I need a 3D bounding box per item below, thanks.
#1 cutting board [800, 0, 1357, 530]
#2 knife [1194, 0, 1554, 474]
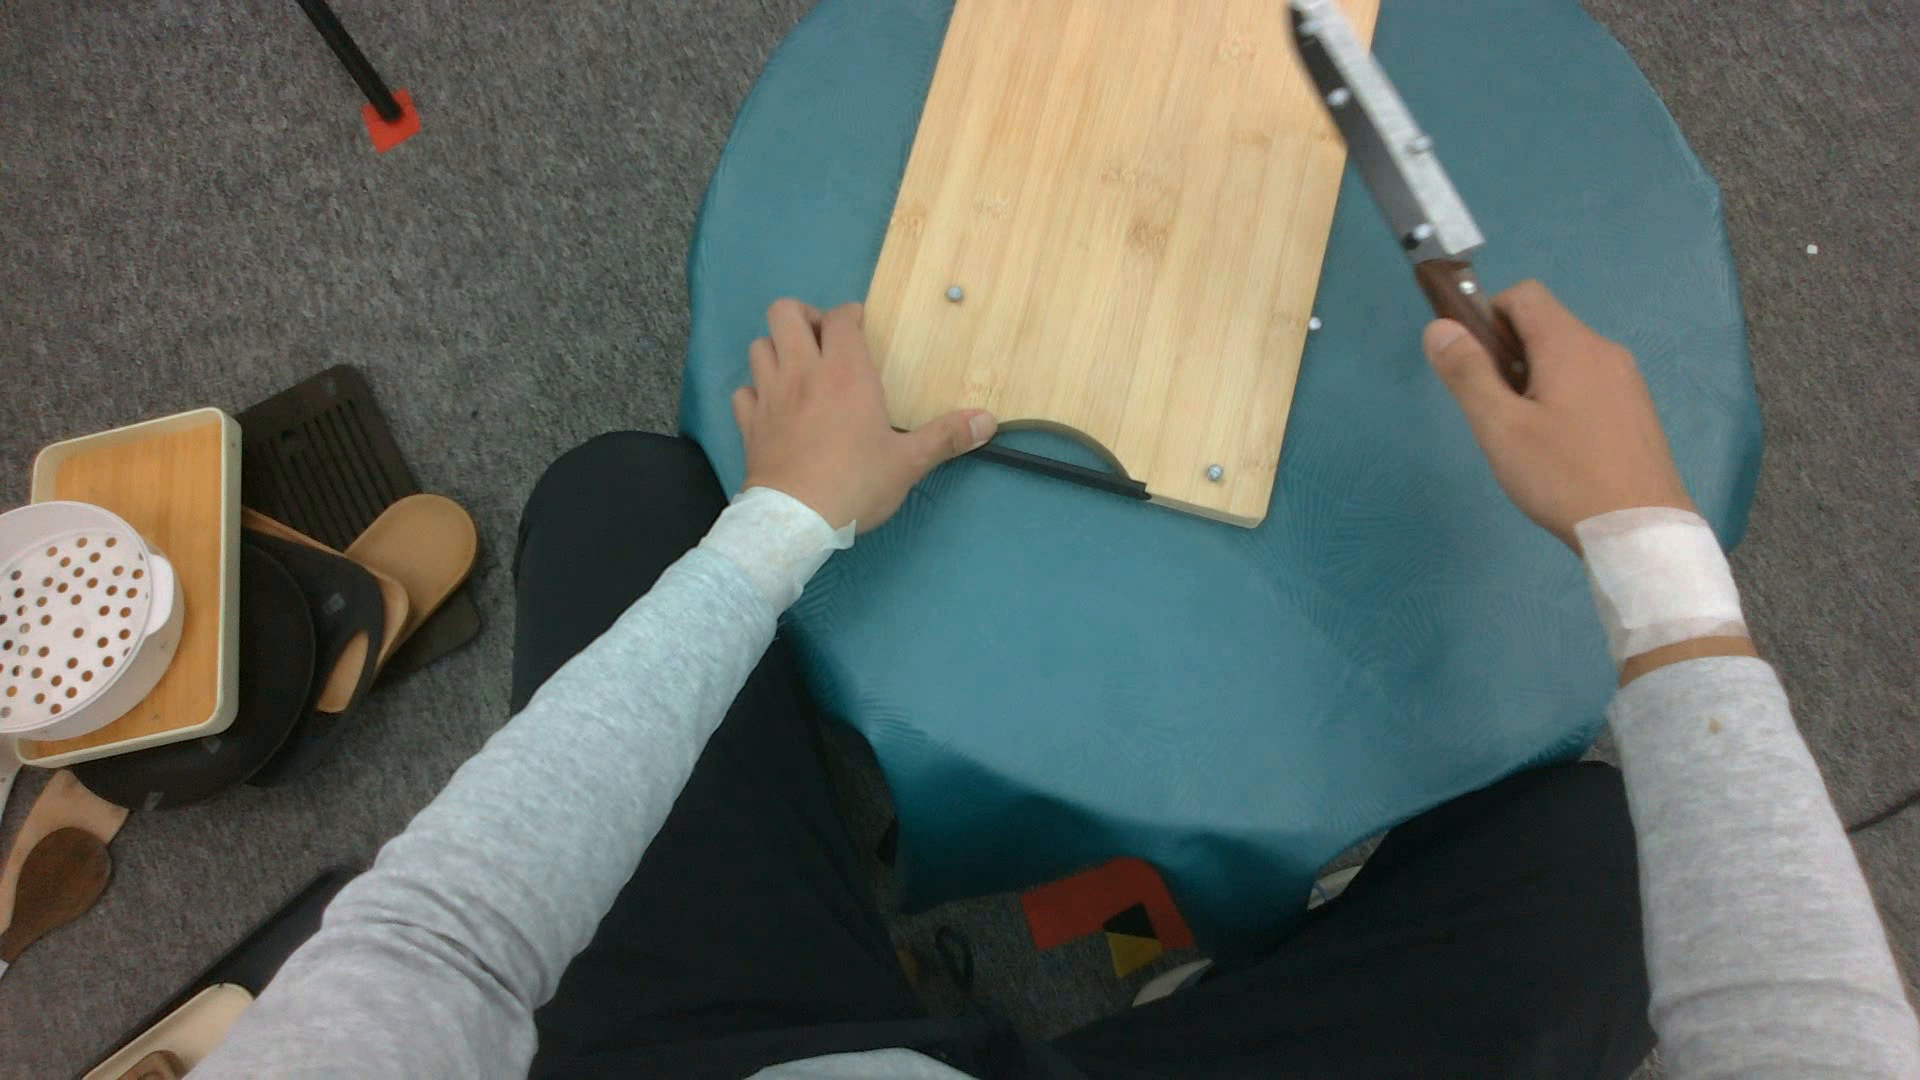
[{"bbox_3d":[0.075,-0.197,0.786,0.251,0.023,0.349,14,75,2],"label":"cutting board"},{"bbox_3d":[0.195,-0.155,0.665,0.050,0.020,0.289,-27,79,-26],"label":"knife"}]
